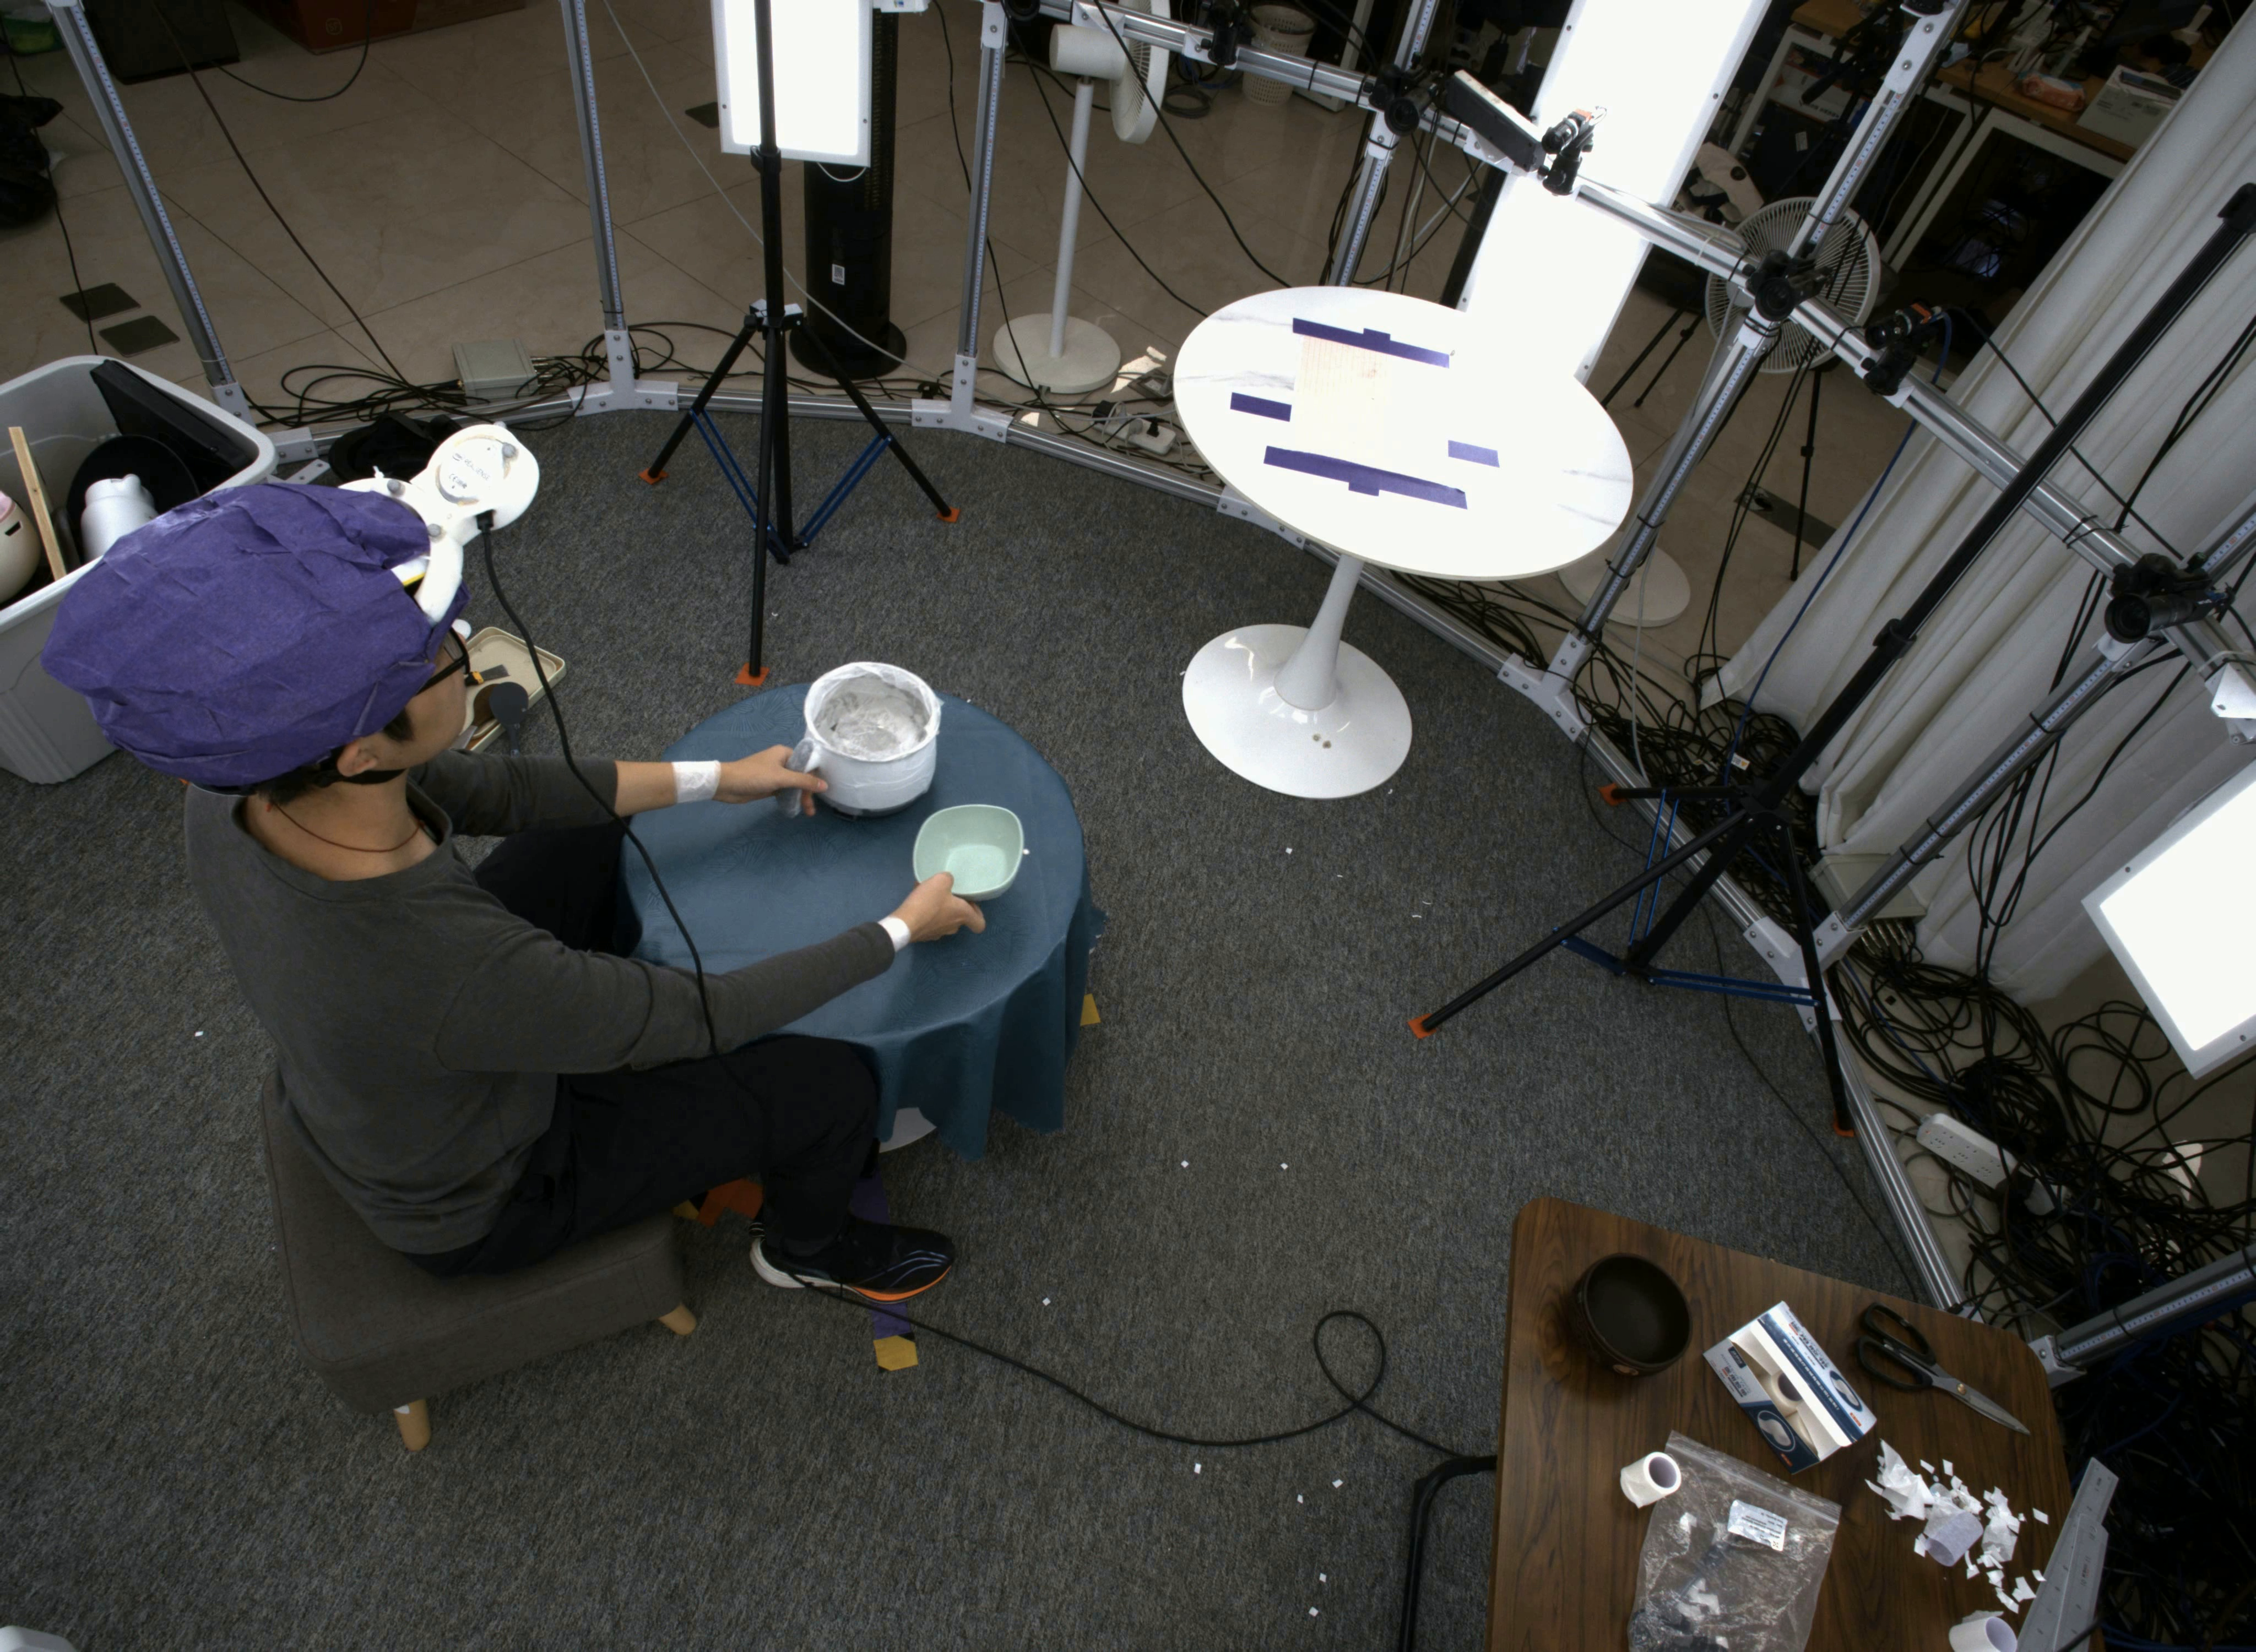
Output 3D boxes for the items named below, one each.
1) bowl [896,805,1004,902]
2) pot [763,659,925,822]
[{"bbox_3d":[-0.222,0.044,1.663,0.149,0.060,0.149,-1,53,3],"label":"bowl"},{"bbox_3d":[-0.384,-0.100,1.730,0.175,0.139,0.234,42,54,18],"label":"pot"}]
